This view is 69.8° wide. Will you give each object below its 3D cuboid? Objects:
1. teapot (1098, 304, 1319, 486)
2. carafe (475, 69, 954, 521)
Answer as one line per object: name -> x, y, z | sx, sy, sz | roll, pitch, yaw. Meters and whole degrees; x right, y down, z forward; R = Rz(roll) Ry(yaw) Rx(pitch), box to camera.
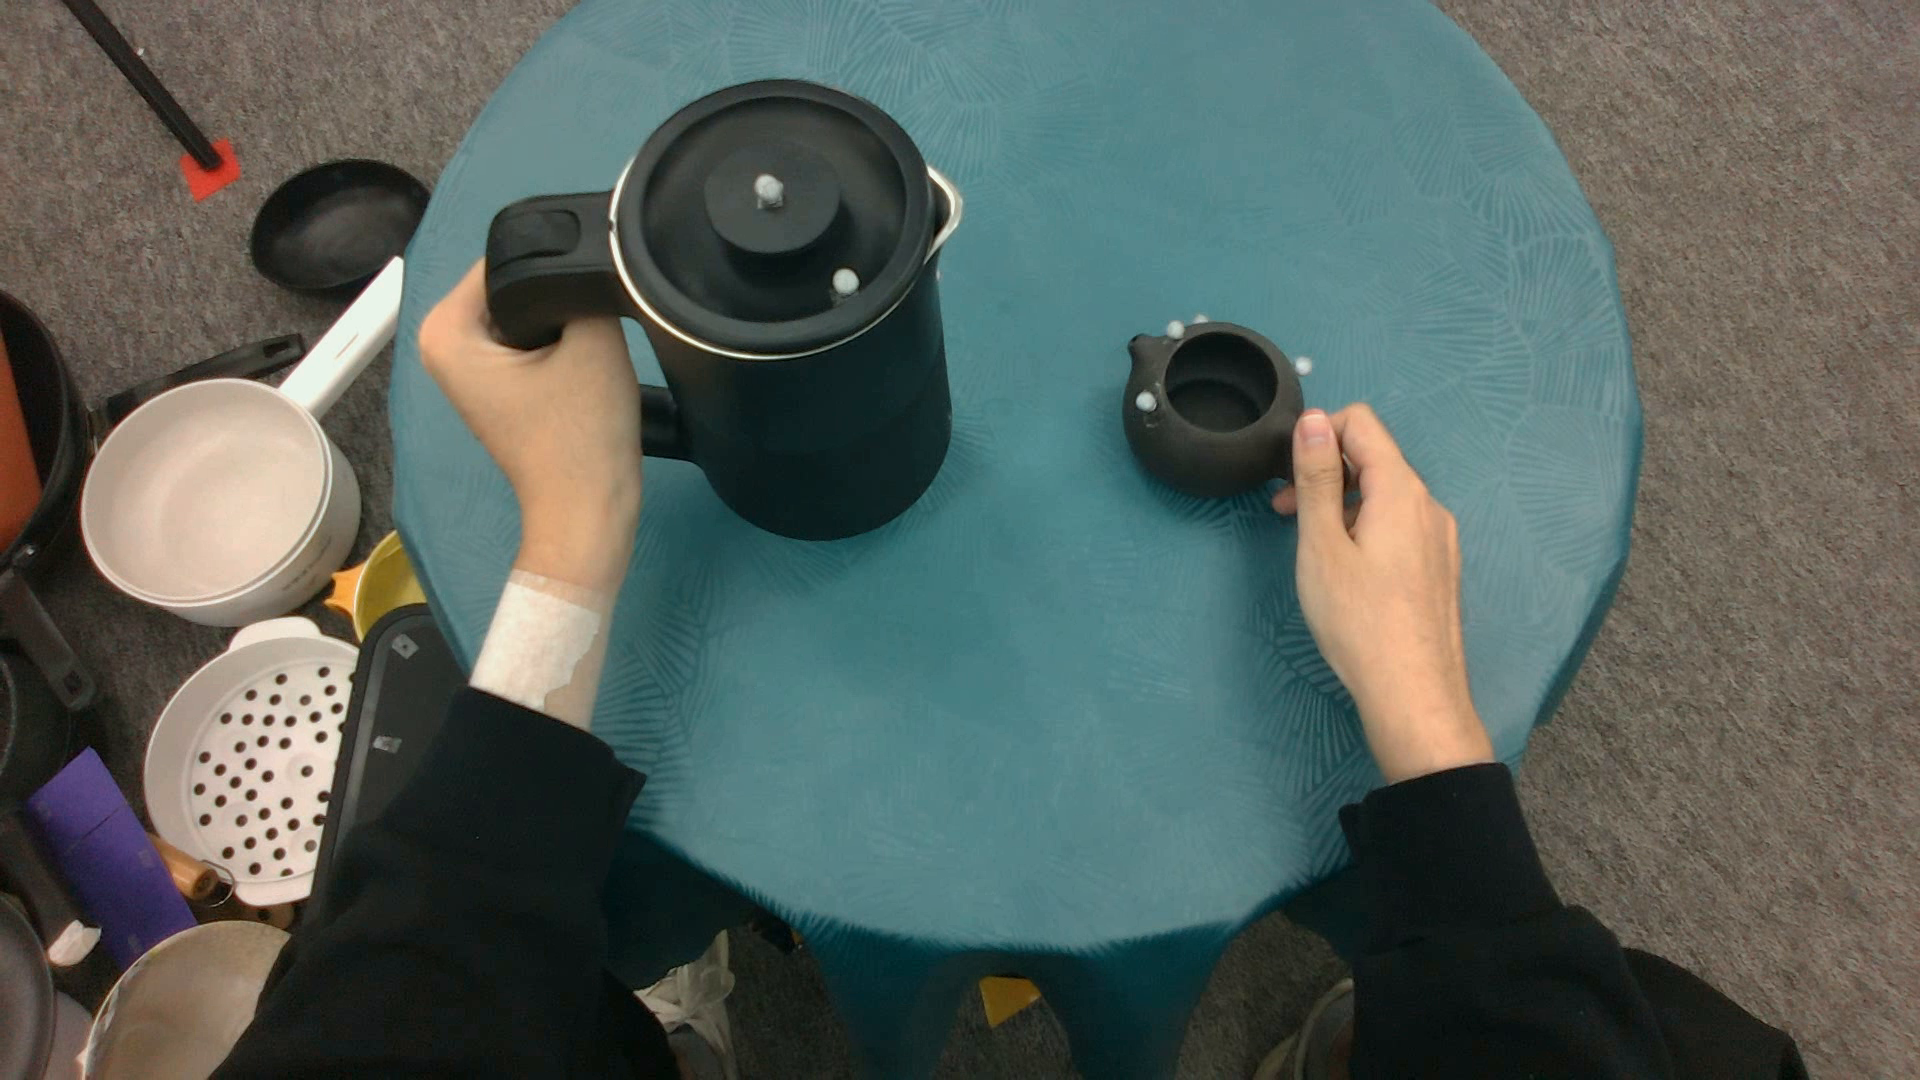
teapot -> 0.114, -0.062, 0.625 | 0.114, 0.053, 0.083 | 37, 74, 19
carafe -> -0.090, -0.086, 0.529 | 0.172, 0.173, 0.115 | -5, 71, -4
